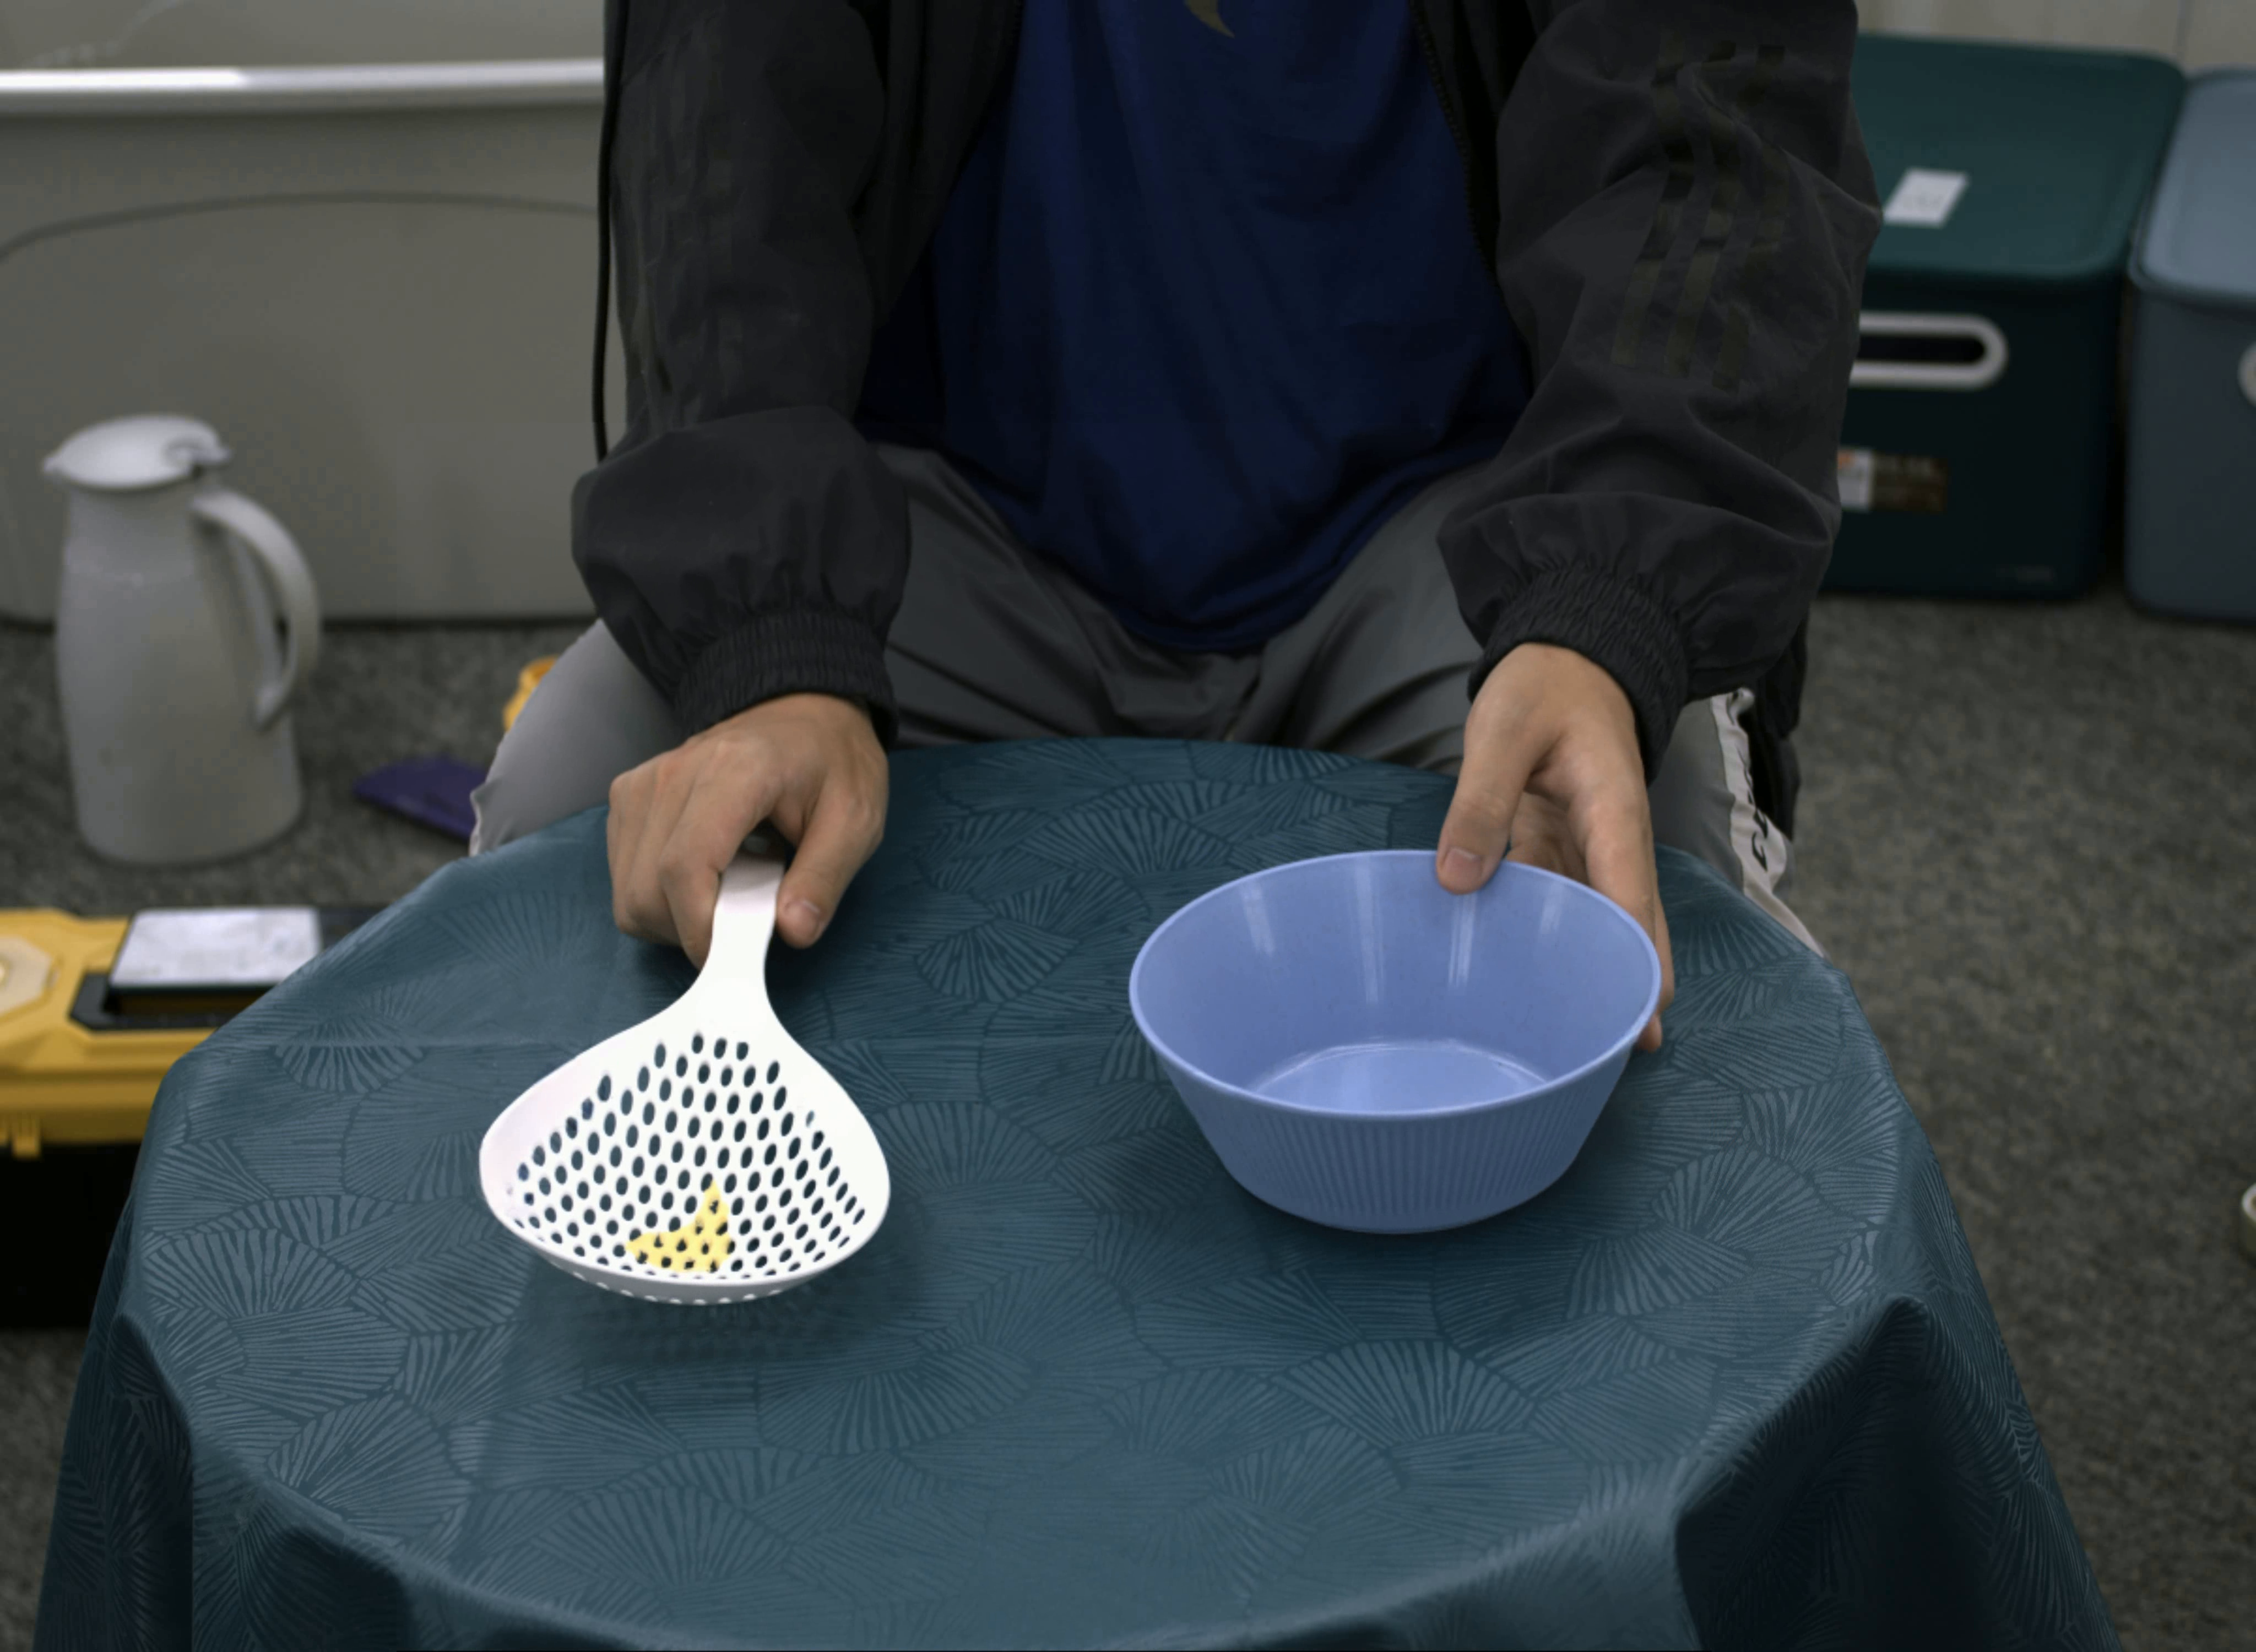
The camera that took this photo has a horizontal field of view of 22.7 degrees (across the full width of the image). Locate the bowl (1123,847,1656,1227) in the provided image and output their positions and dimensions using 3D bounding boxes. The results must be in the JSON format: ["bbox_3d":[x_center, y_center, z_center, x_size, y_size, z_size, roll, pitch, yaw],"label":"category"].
[{"bbox_3d":[0.087,0.076,1.863,0.175,0.069,0.179,-2,28,1],"label":"bowl"}]

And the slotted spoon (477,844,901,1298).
[{"bbox_3d":[-0.140,0.072,1.916,0.136,0.050,0.353,4,28,-1],"label":"slotted spoon"}]
